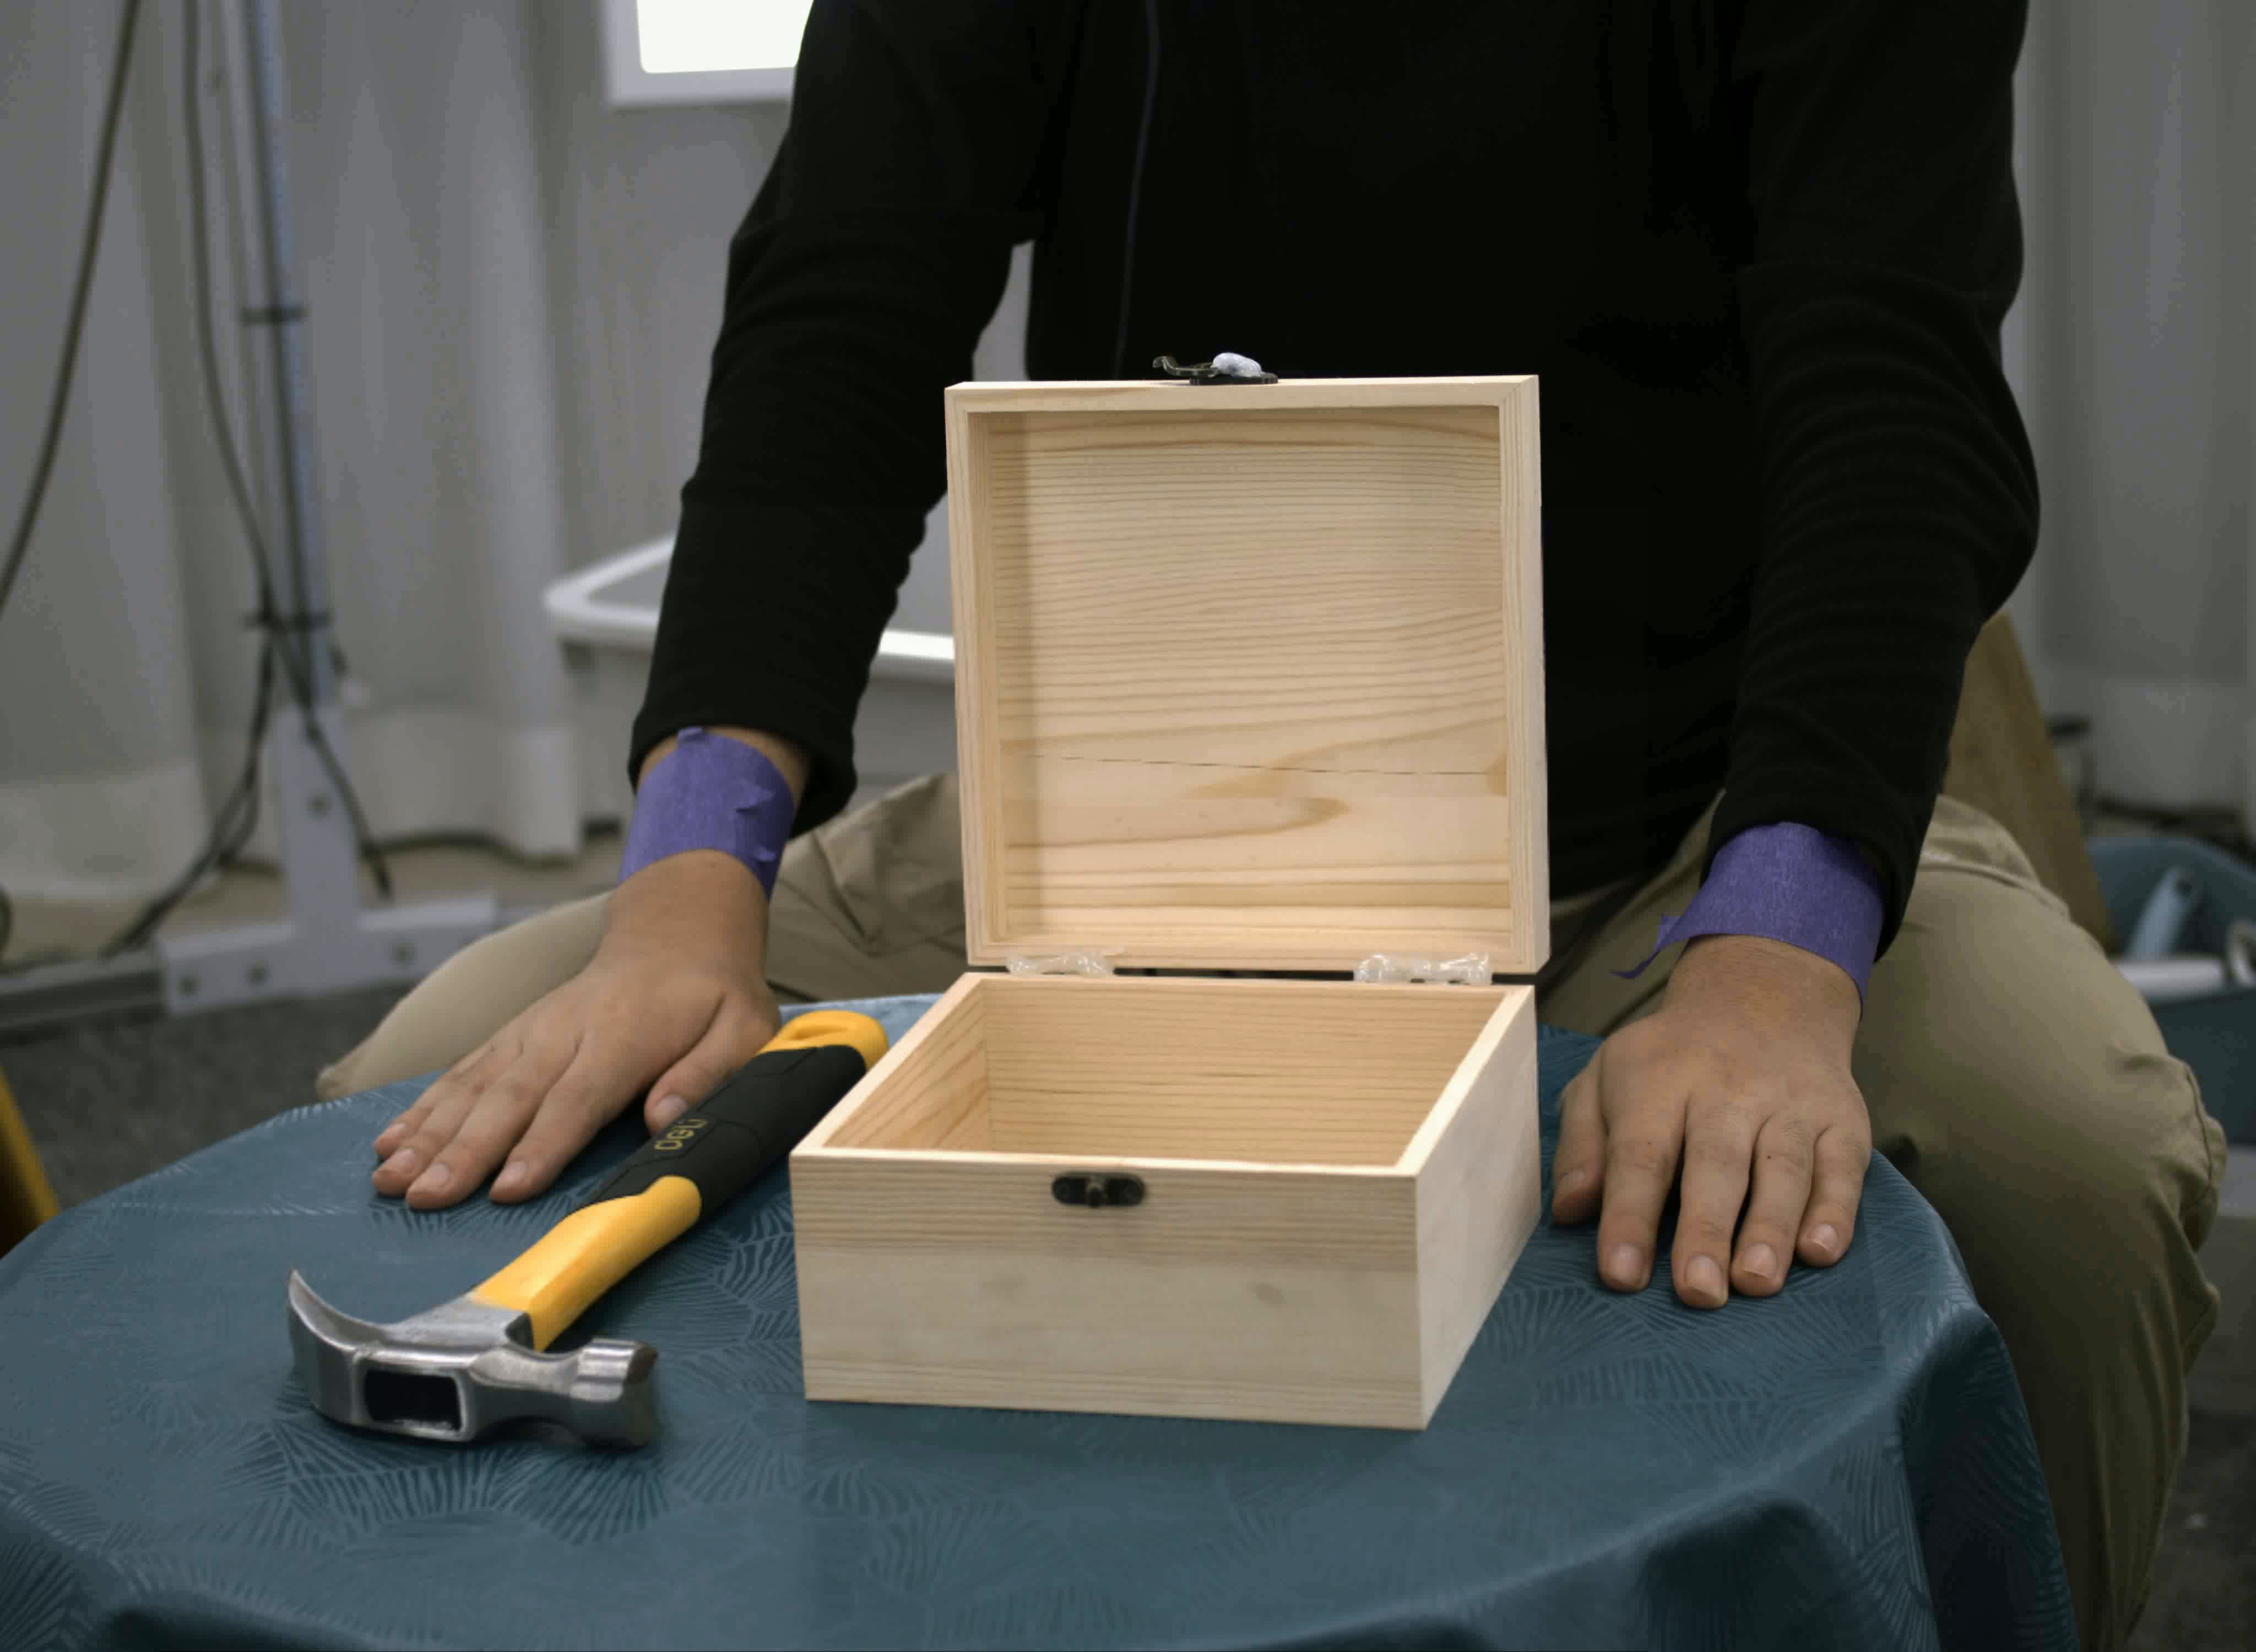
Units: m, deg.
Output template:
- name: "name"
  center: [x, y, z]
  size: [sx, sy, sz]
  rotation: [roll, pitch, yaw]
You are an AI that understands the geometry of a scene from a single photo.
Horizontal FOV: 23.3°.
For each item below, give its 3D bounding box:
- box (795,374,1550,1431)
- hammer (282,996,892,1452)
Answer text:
- name: "box"
  center: [0.019, 0.014, 1.611]
  size: [0.181, 0.252, 0.266]
  rotation: [-1, 14, 14]
- name: "hammer"
  center: [-0.148, 0.113, 1.678]
  size: [0.131, 0.032, 0.340]
  rotation: [3, 17, 19]
